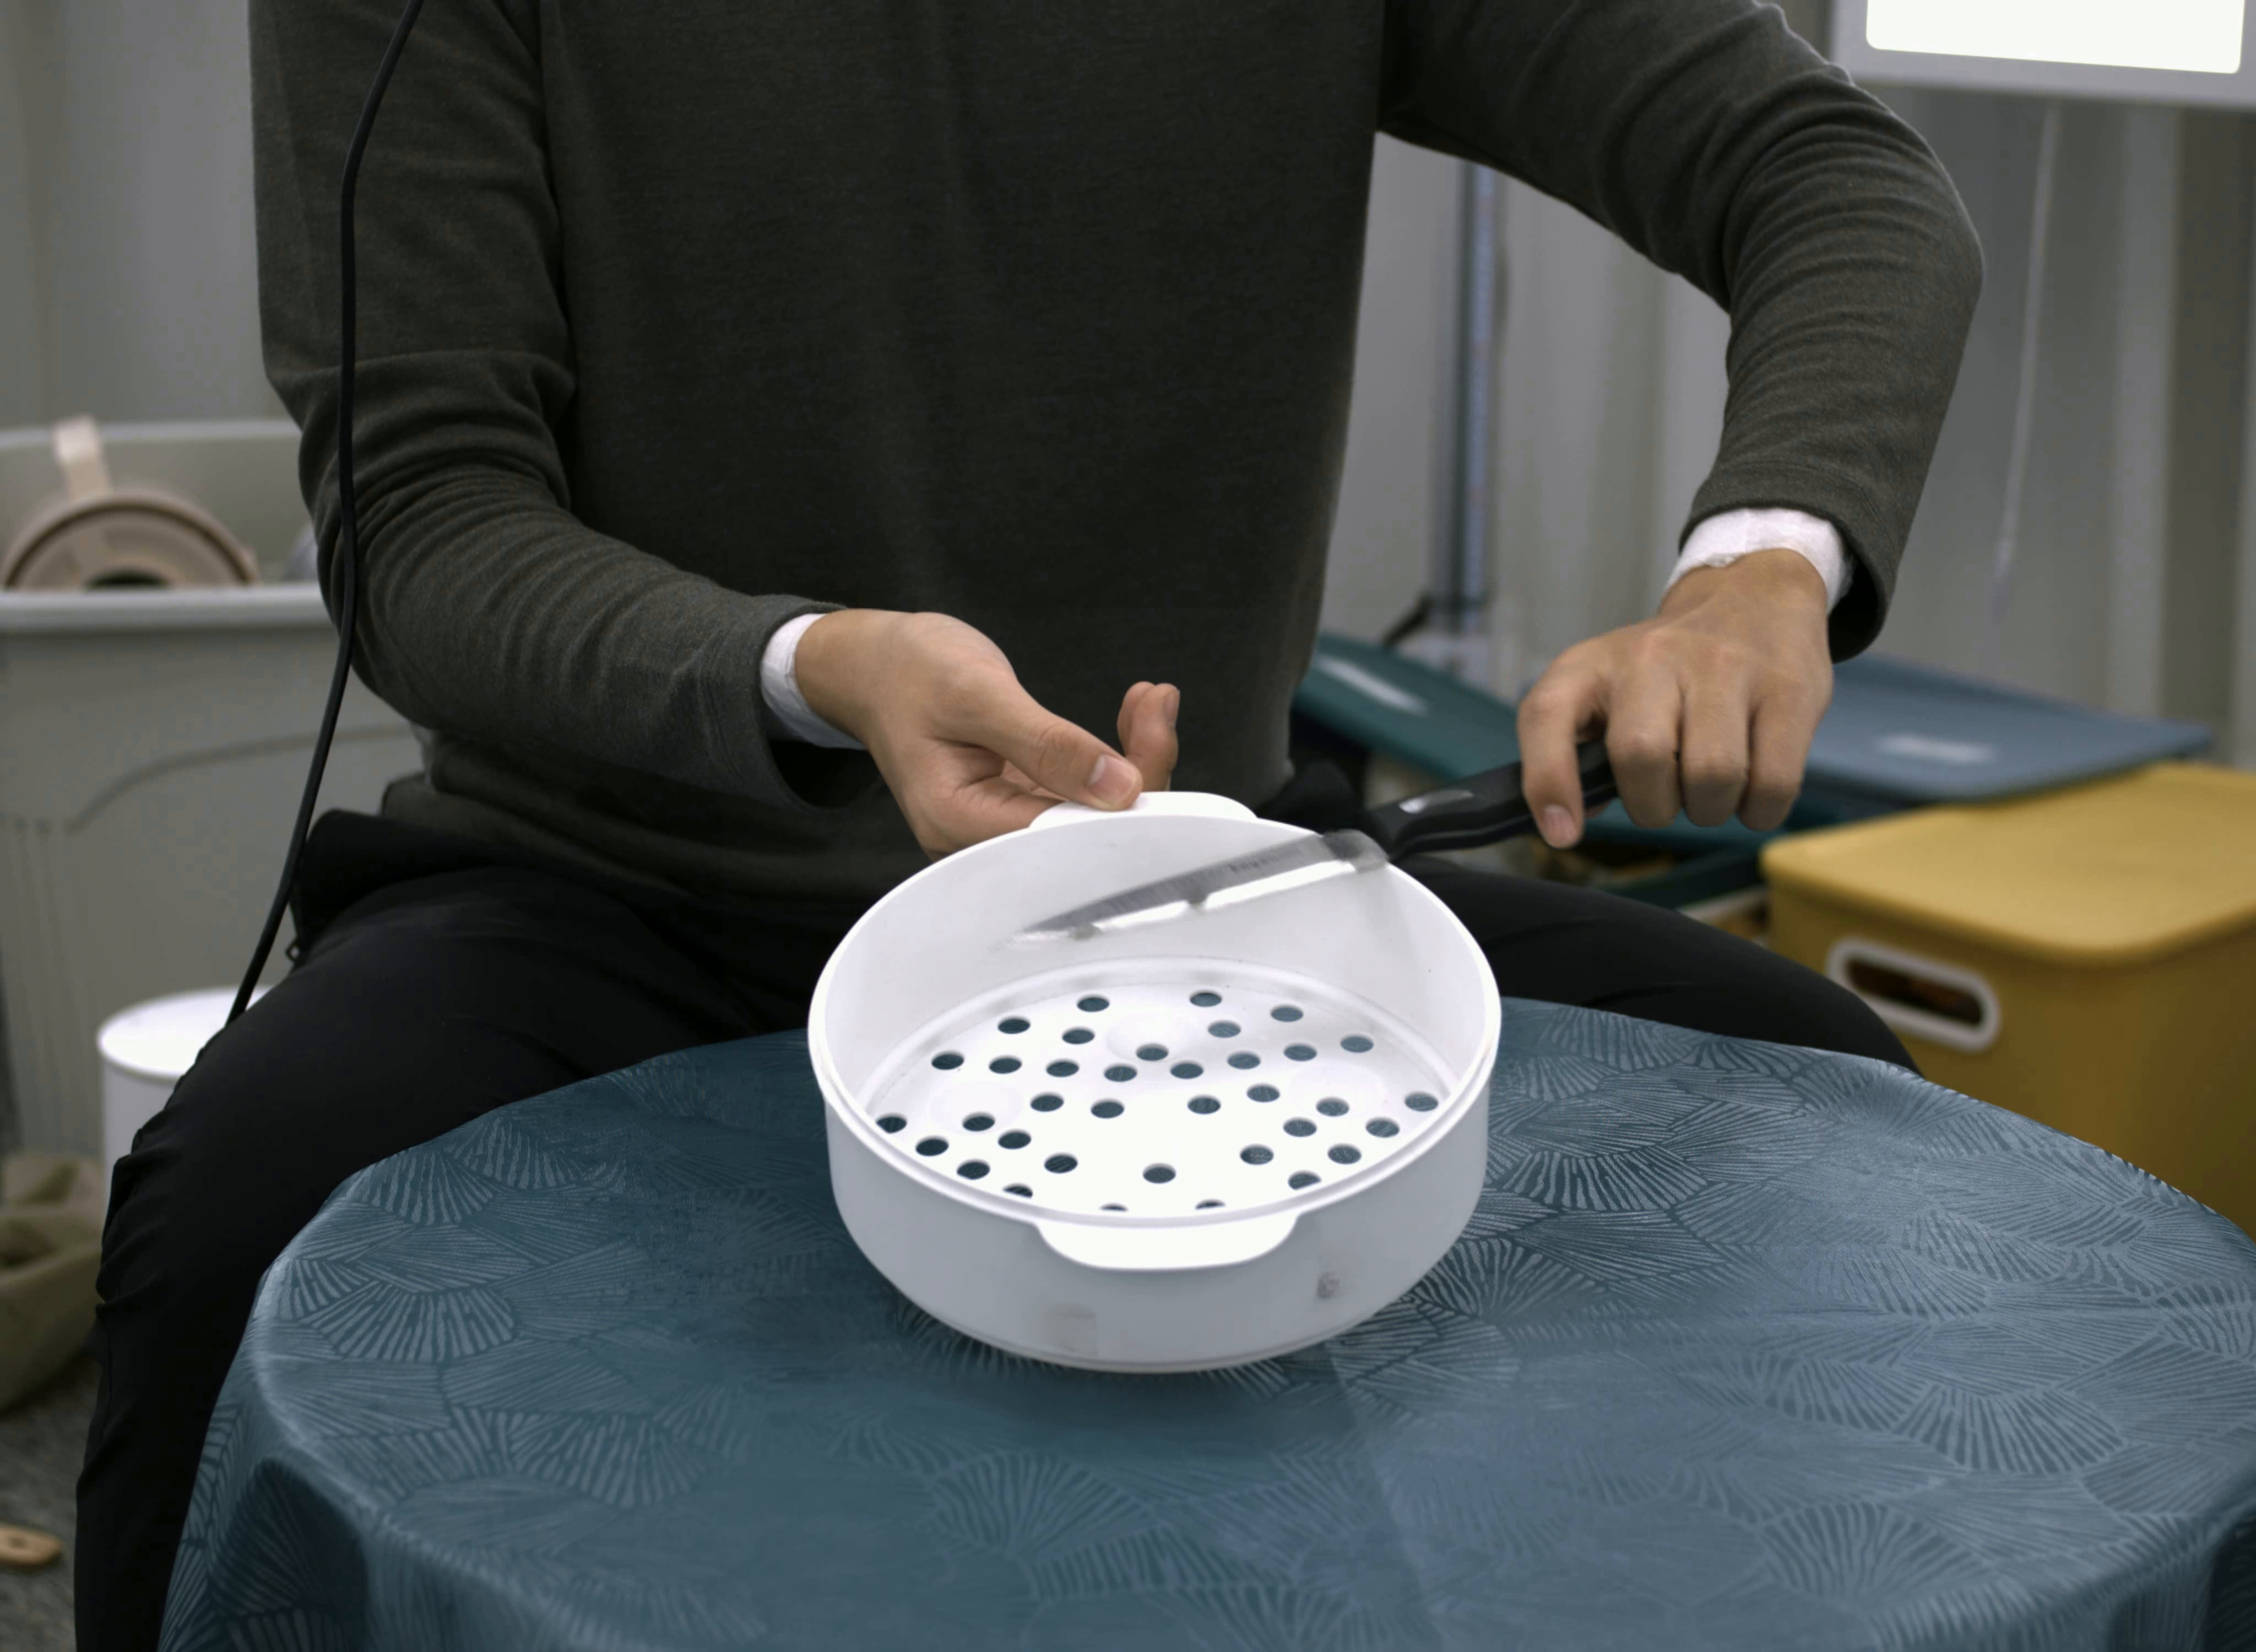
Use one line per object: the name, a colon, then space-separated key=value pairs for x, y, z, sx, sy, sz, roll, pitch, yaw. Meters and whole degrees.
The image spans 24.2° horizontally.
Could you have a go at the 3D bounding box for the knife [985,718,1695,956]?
knife: x=0.064 y=0.004 z=1.576 sx=0.238 sy=0.016 sz=0.024 roll=-17 pitch=37 yaw=-21

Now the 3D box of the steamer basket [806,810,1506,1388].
steamer basket: x=0.009 y=0.081 z=1.530 sx=0.201 sy=0.070 sz=0.228 roll=-2 pitch=34 yaw=-1
